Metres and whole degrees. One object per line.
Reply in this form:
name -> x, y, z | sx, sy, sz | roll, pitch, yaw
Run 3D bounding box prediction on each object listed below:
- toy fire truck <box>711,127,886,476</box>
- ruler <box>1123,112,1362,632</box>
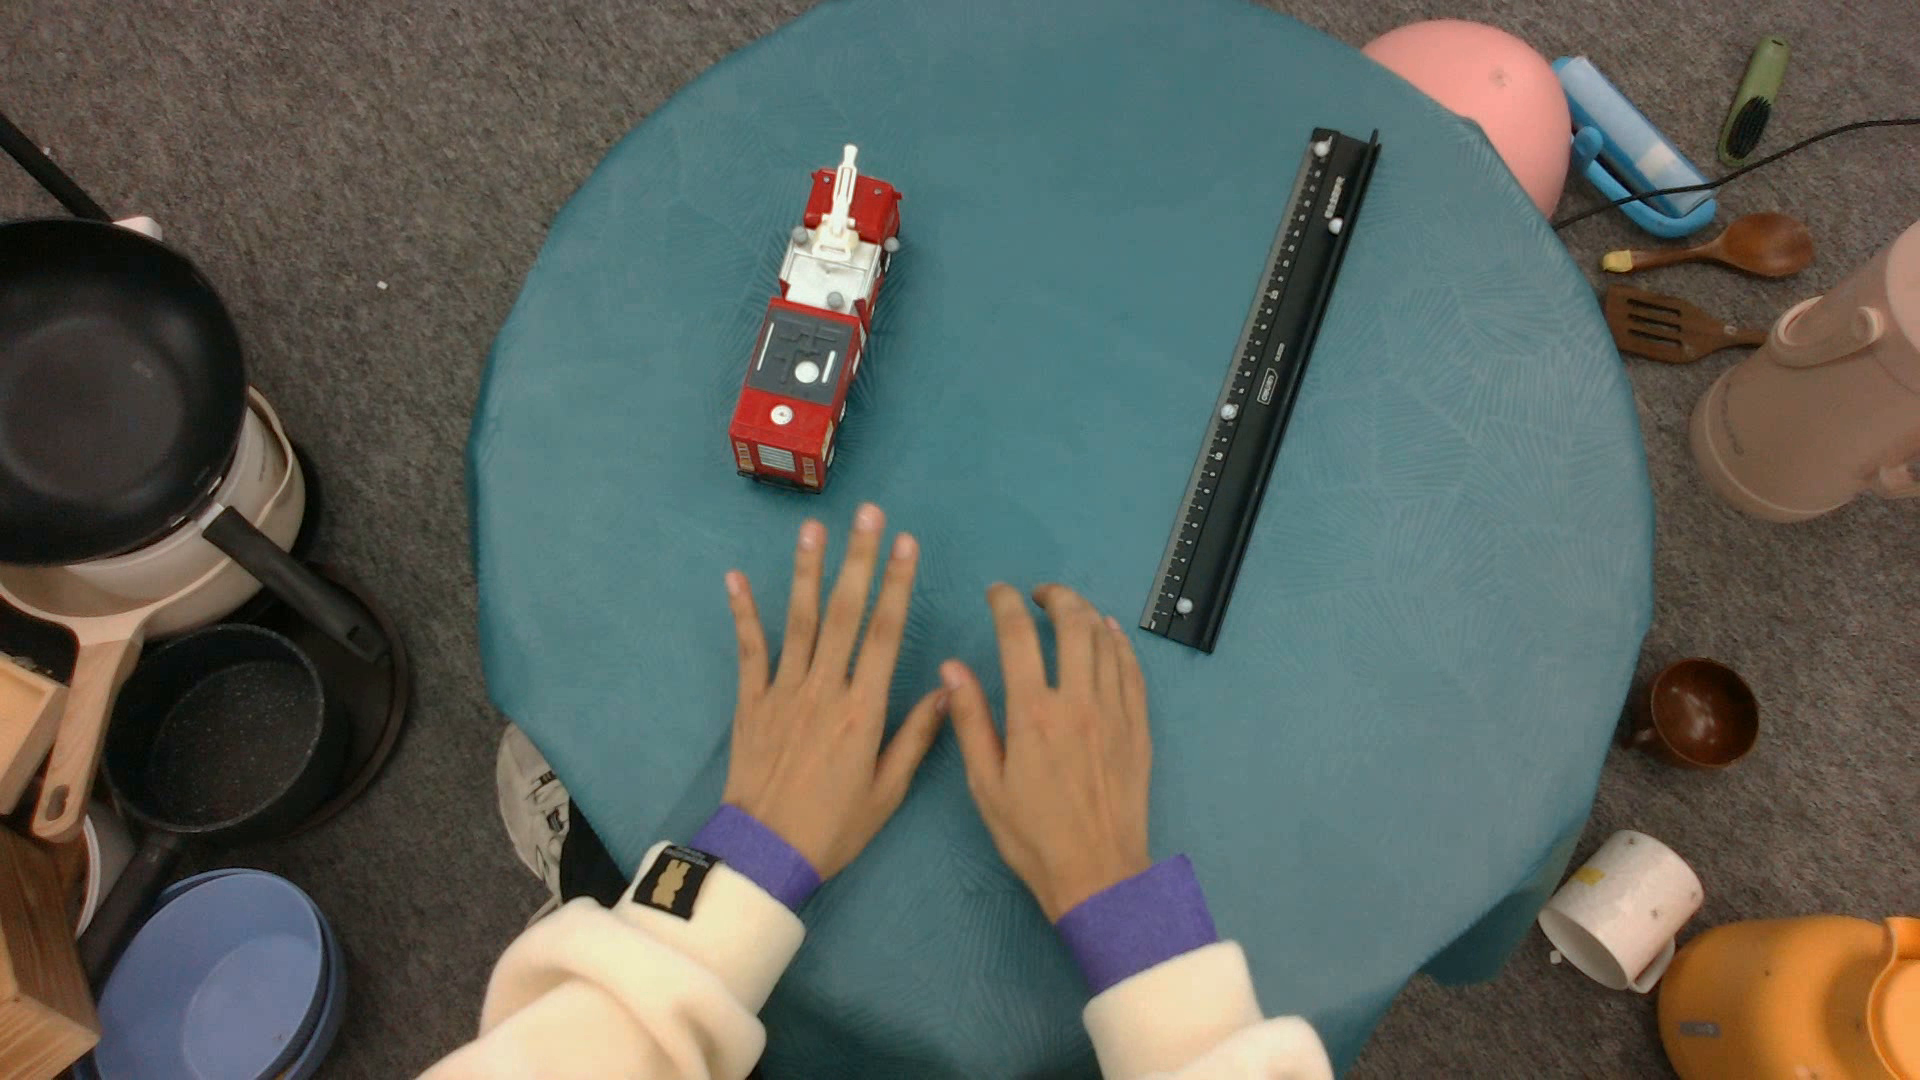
toy fire truck -> -0.080, -0.118, 0.689 | 0.054, 0.070, 0.168 | 14, 73, 1
ruler -> 0.152, -0.100, 0.718 | 0.039, 0.017, 0.313 | 20, 72, 7
